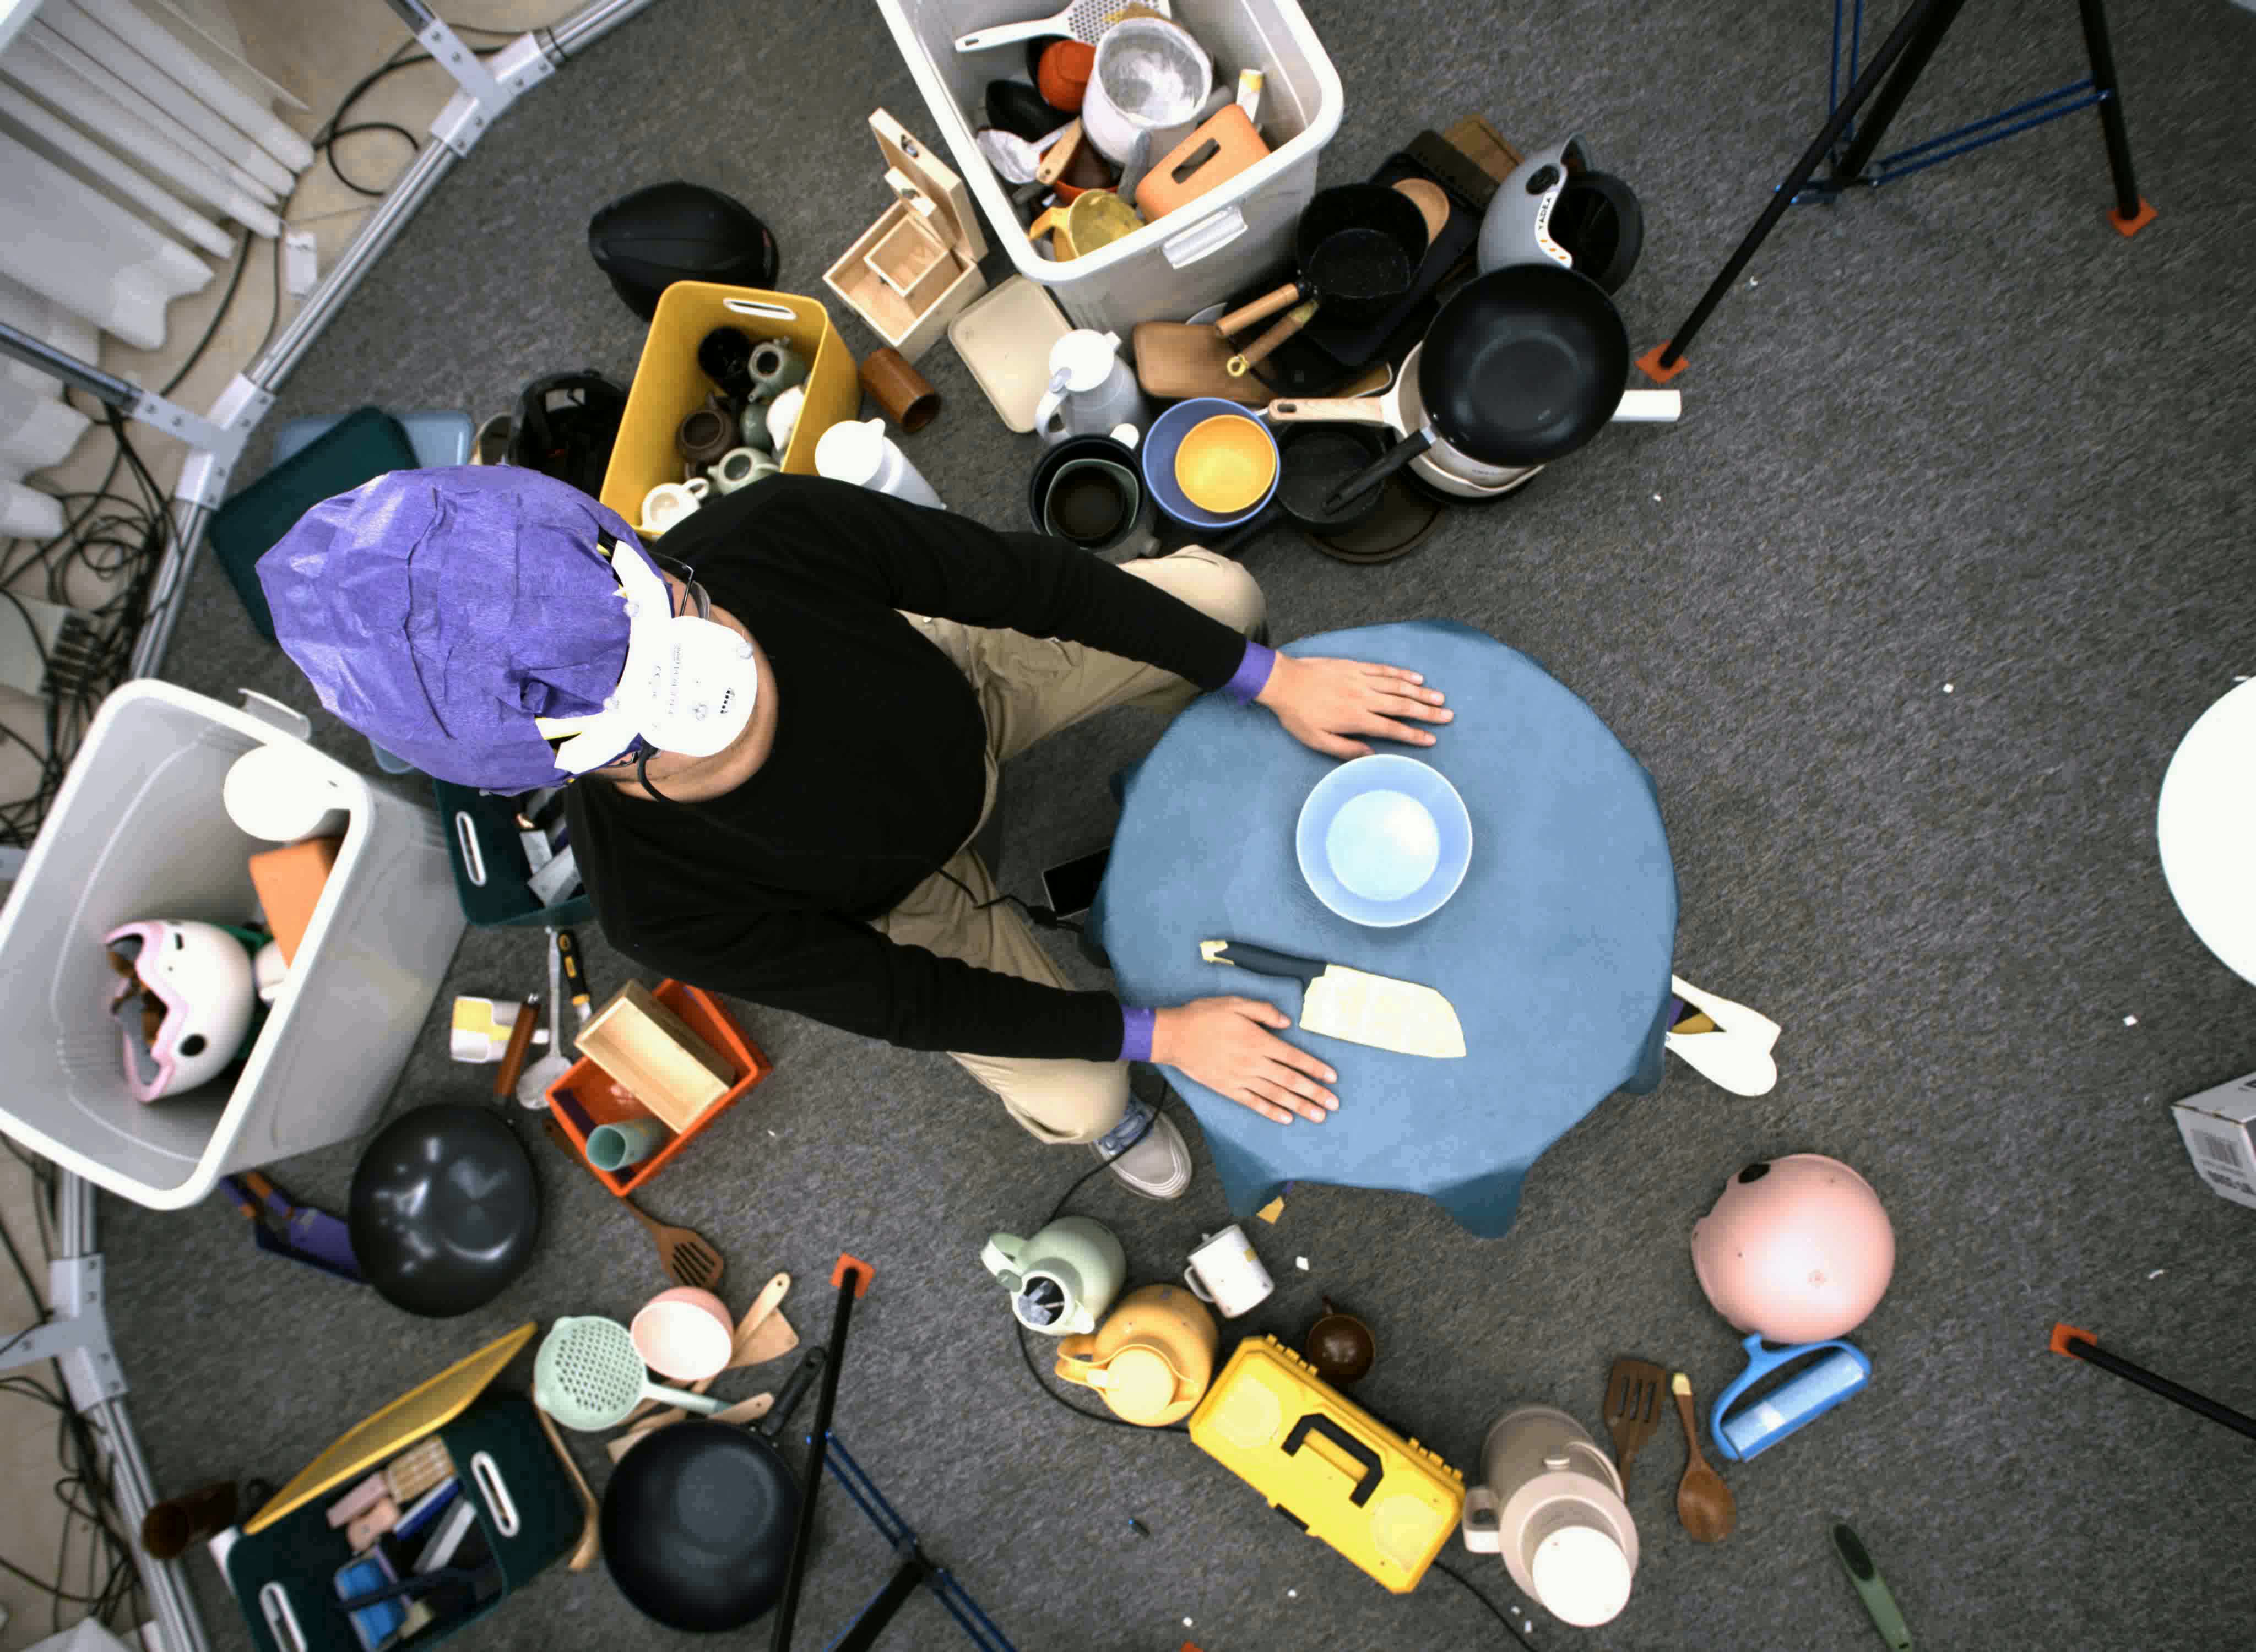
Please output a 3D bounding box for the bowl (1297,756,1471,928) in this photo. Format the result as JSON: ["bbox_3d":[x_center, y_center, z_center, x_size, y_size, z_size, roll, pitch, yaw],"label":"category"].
[{"bbox_3d":[0.265,0.017,1.430,0.177,0.070,0.175,-1,87,11],"label":"bowl"}]

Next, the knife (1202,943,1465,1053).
[{"bbox_3d":[0.214,0.179,1.460,0.290,0.027,0.081,16,89,10],"label":"knife"}]
